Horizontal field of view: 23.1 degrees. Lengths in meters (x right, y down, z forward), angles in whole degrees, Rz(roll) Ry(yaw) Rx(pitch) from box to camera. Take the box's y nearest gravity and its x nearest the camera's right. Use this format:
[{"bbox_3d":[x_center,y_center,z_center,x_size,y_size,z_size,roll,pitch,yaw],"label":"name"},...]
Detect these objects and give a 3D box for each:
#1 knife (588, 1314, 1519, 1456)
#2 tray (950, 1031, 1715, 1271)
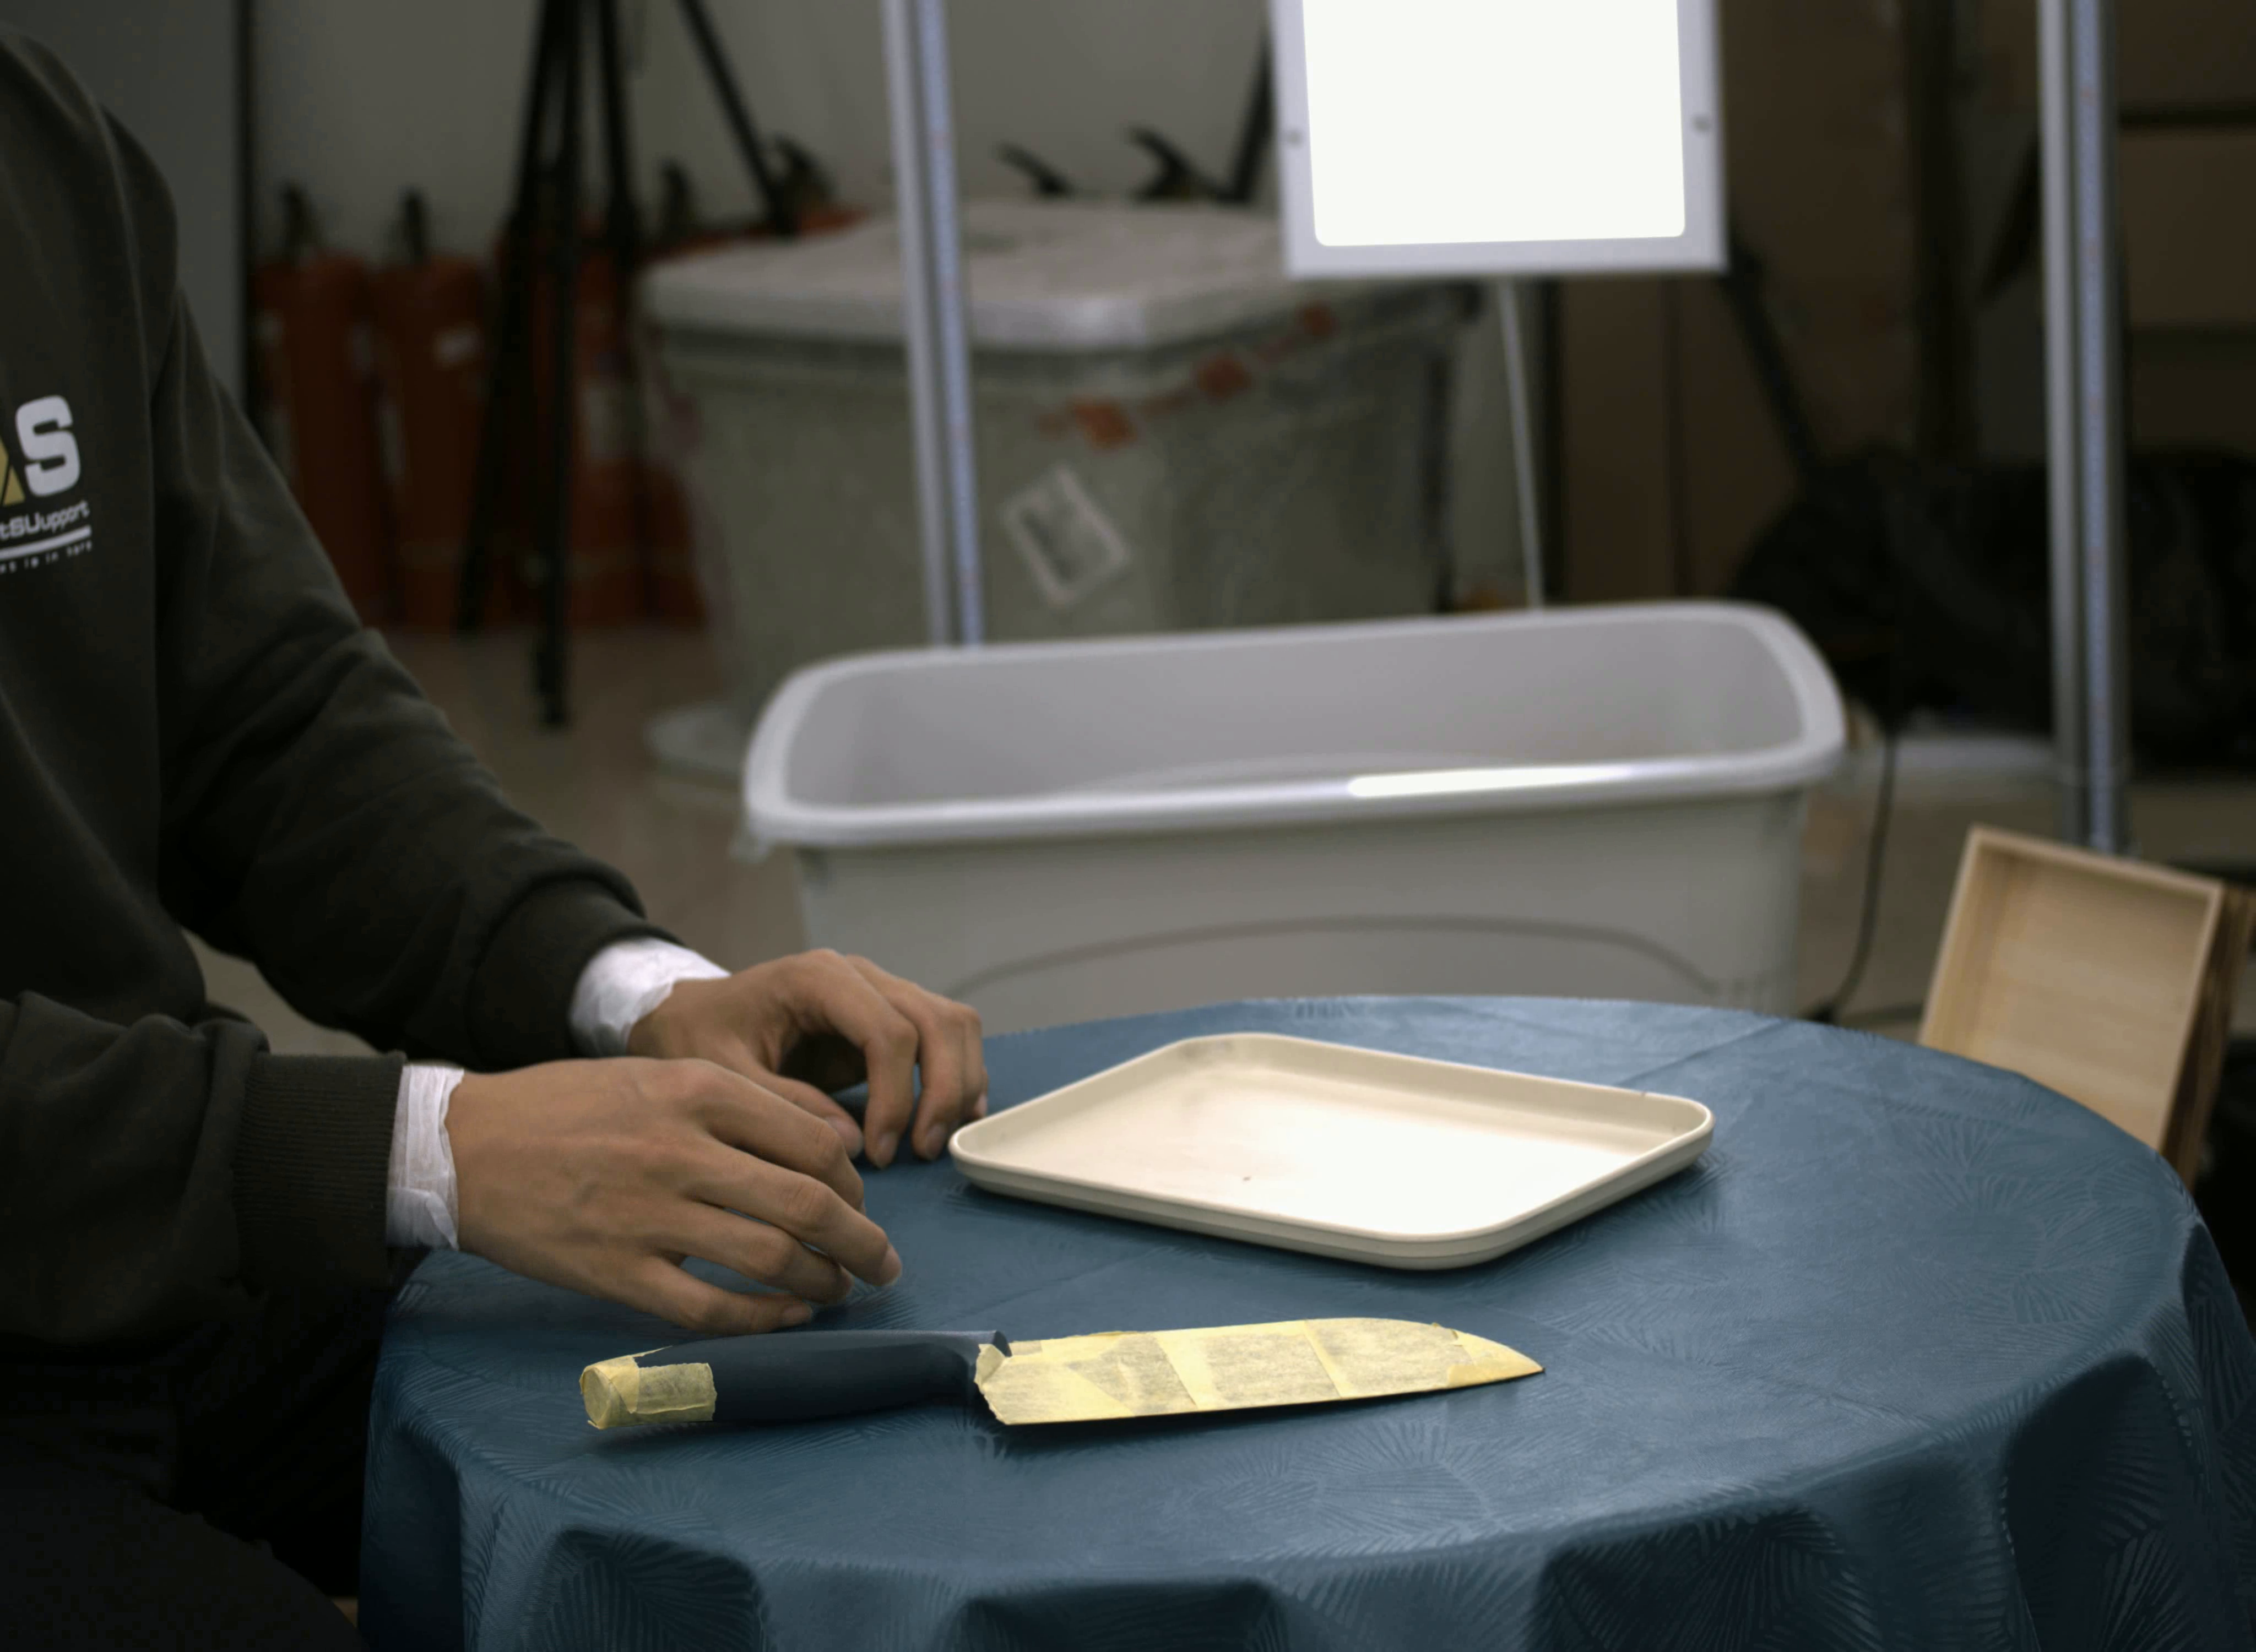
[{"bbox_3d":[-0.021,0.172,1.694,0.288,0.027,0.081,-5,12,-3],"label":"knife"},{"bbox_3d":[0.070,0.111,1.901,0.245,0.017,0.167,7,19,42],"label":"tray"}]
